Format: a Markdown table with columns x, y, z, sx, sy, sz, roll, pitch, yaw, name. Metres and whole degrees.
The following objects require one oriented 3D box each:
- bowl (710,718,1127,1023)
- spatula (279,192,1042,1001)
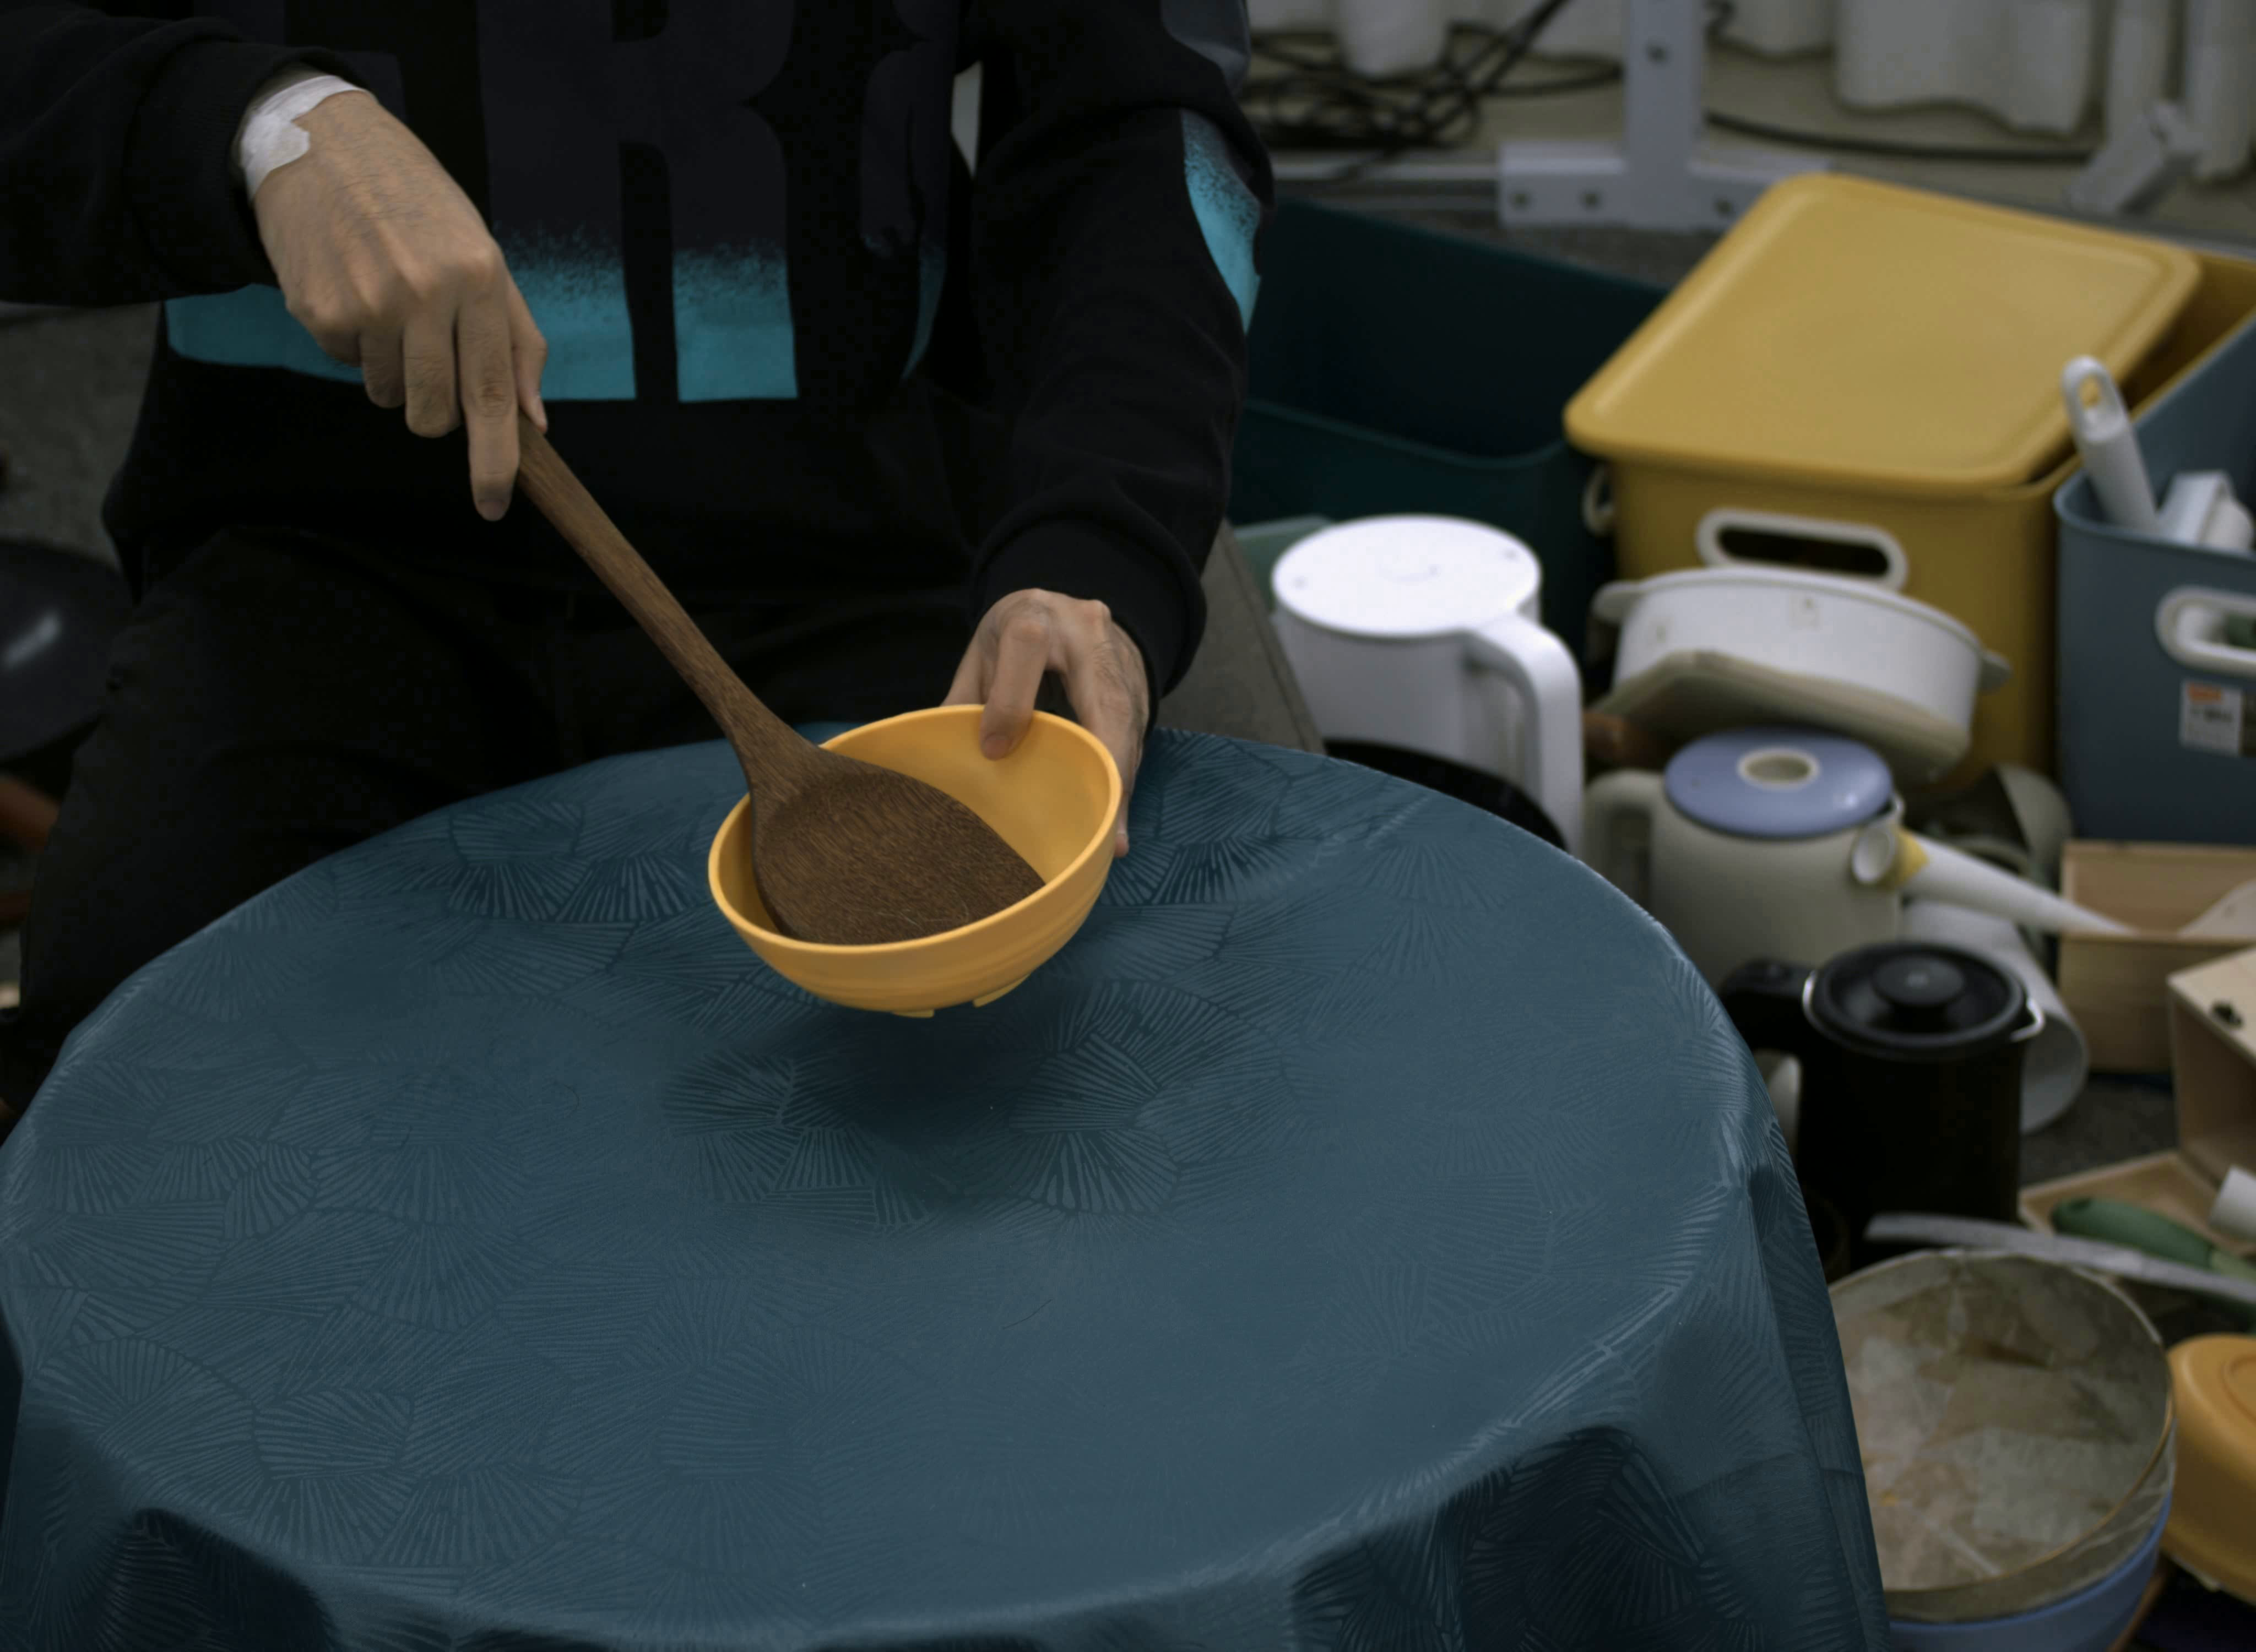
| x | y | z | sx | sy | sz | roll | pitch | yaw | name |
| --- | --- | --- | --- | --- | --- | --- | --- | --- | --- |
| -0.067 | 0.025 | 1.922 | 0.144 | 0.059 | 0.148 | -8 | 30 | 5 | bowl |
| -0.176 | -0.087 | 1.965 | 0.097 | 0.015 | 0.388 | -29 | 70 | -37 | spatula |
